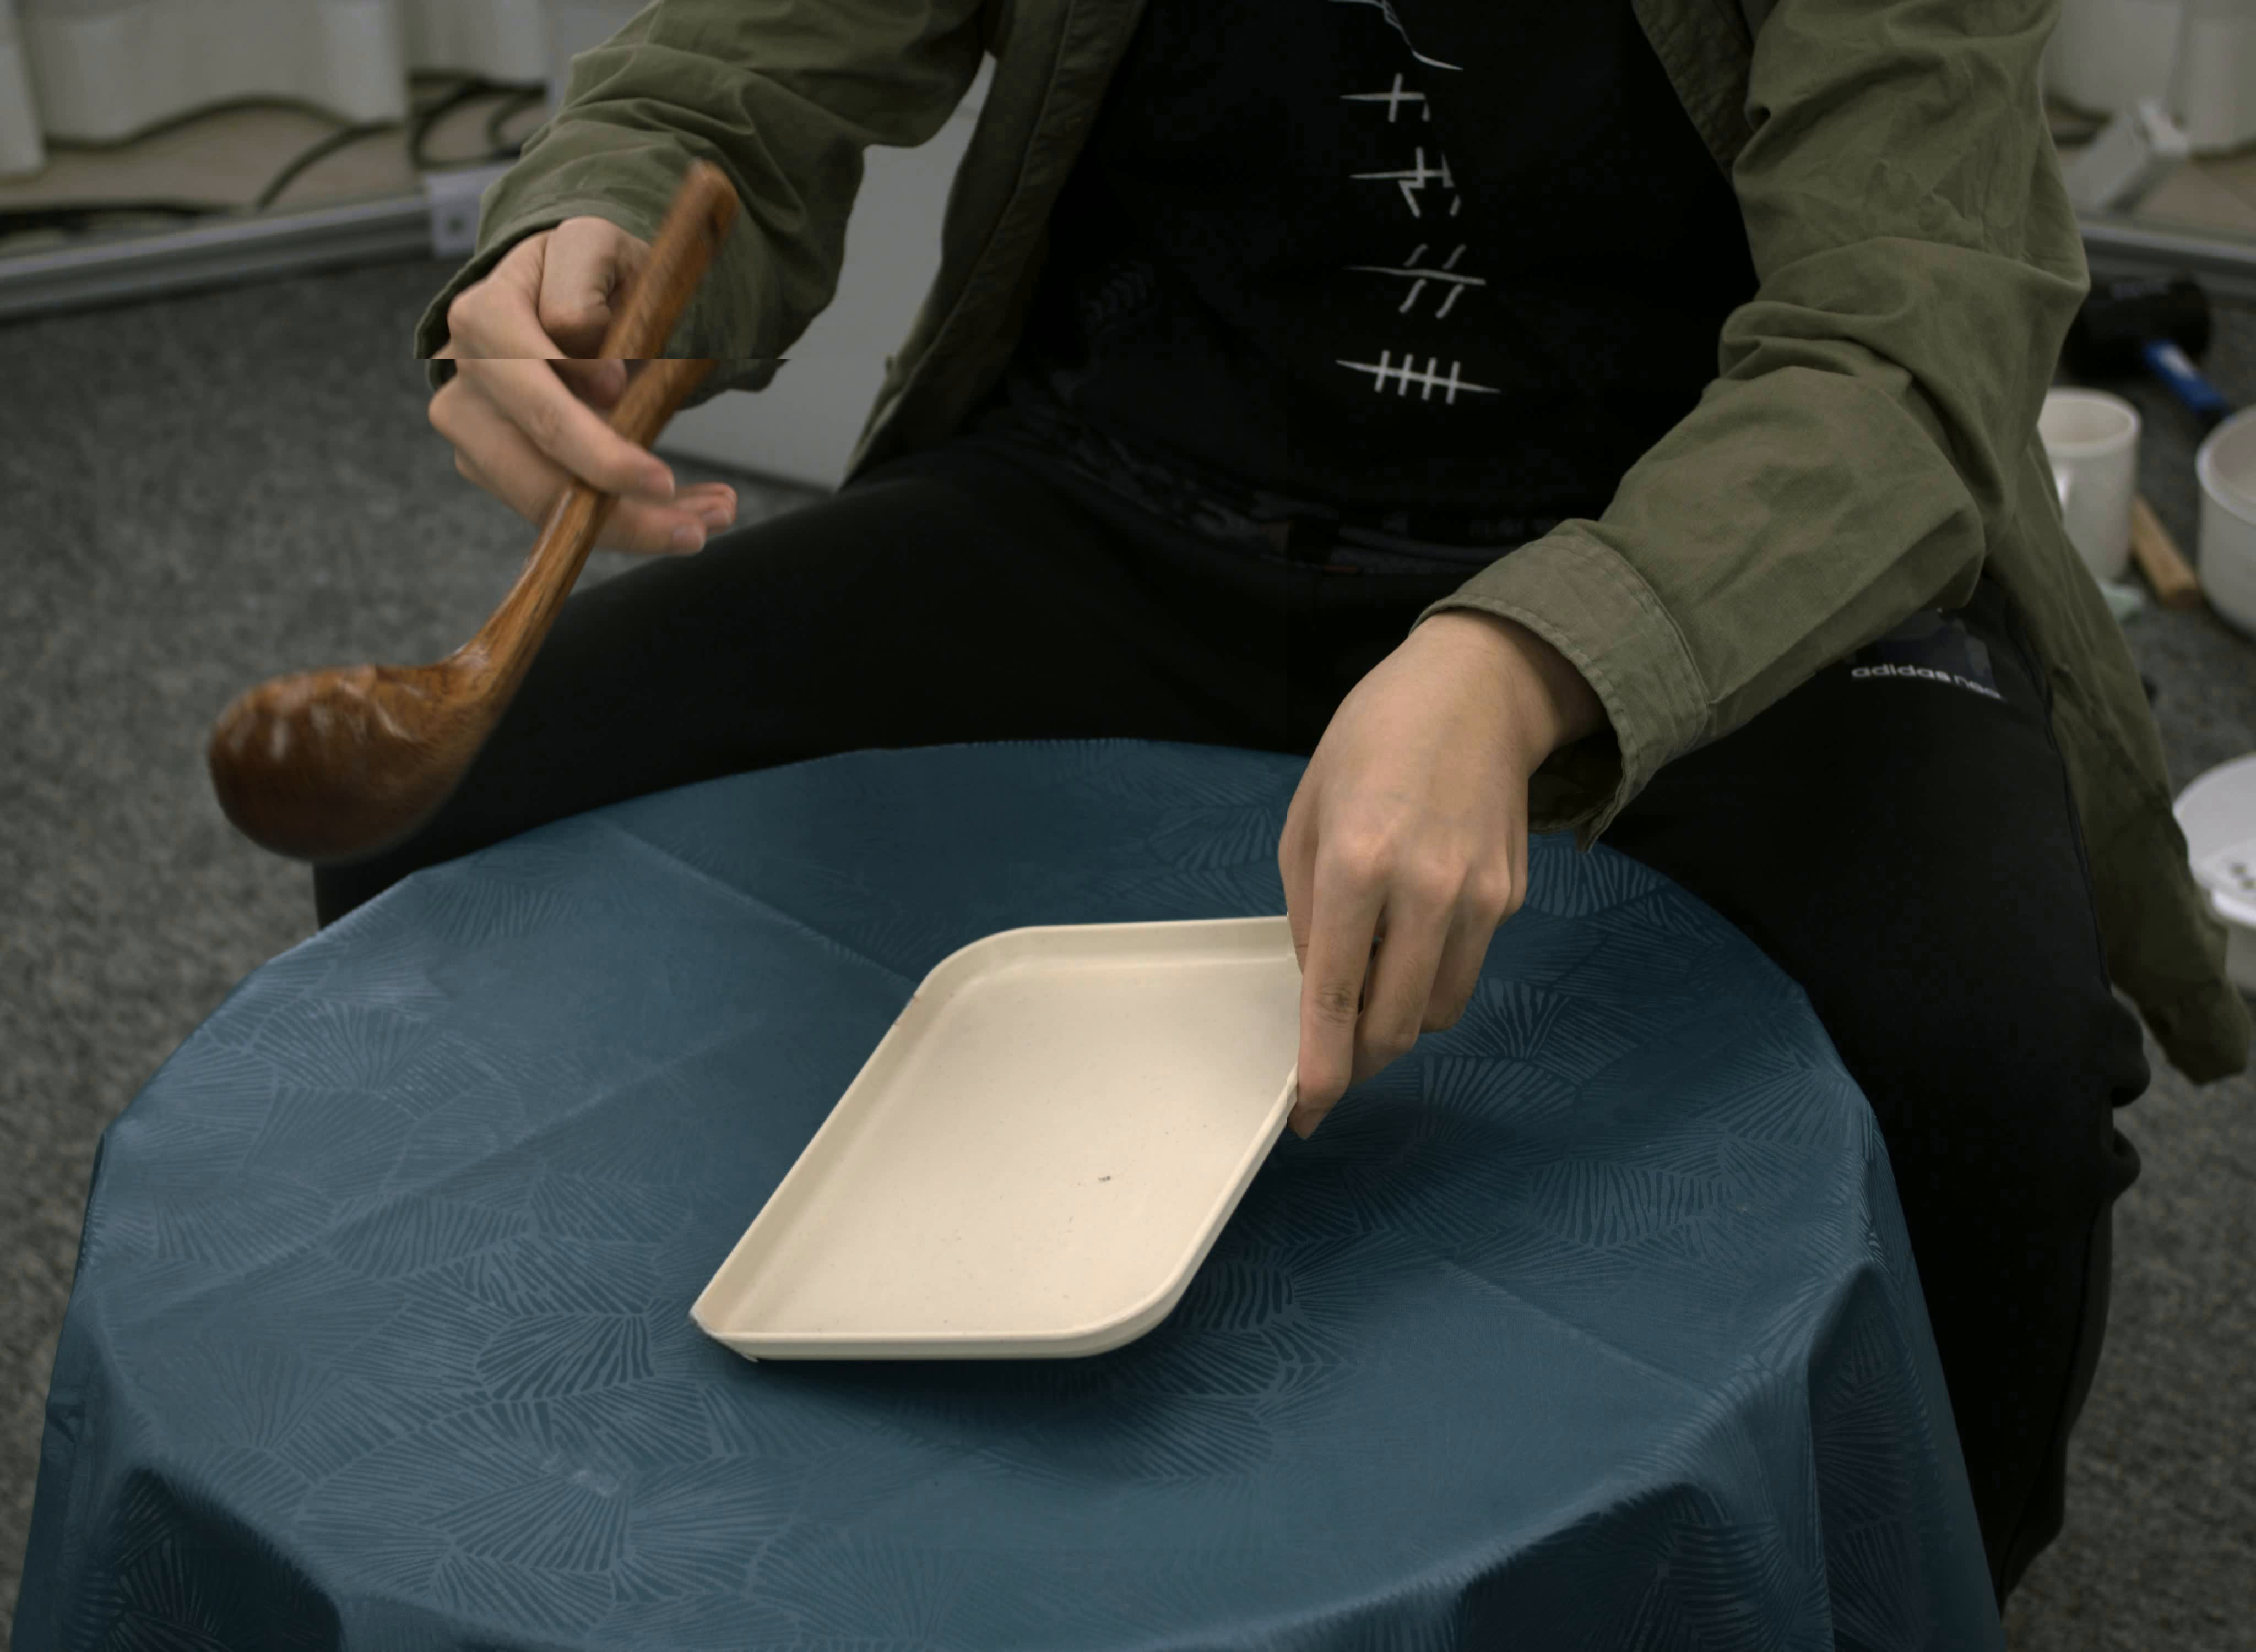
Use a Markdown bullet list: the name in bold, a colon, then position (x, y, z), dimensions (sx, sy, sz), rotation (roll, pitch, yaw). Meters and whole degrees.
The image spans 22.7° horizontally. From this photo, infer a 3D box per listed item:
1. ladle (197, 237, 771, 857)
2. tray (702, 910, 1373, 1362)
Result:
- **ladle**: position (-0.211, -0.099, 1.846), dimensions (0.076, 0.080, 0.279), rotation (21, 56, 12)
- **tray**: position (-0.025, 0.101, 1.829), dimensions (0.169, 0.017, 0.244), rotation (-3, 30, 26)
